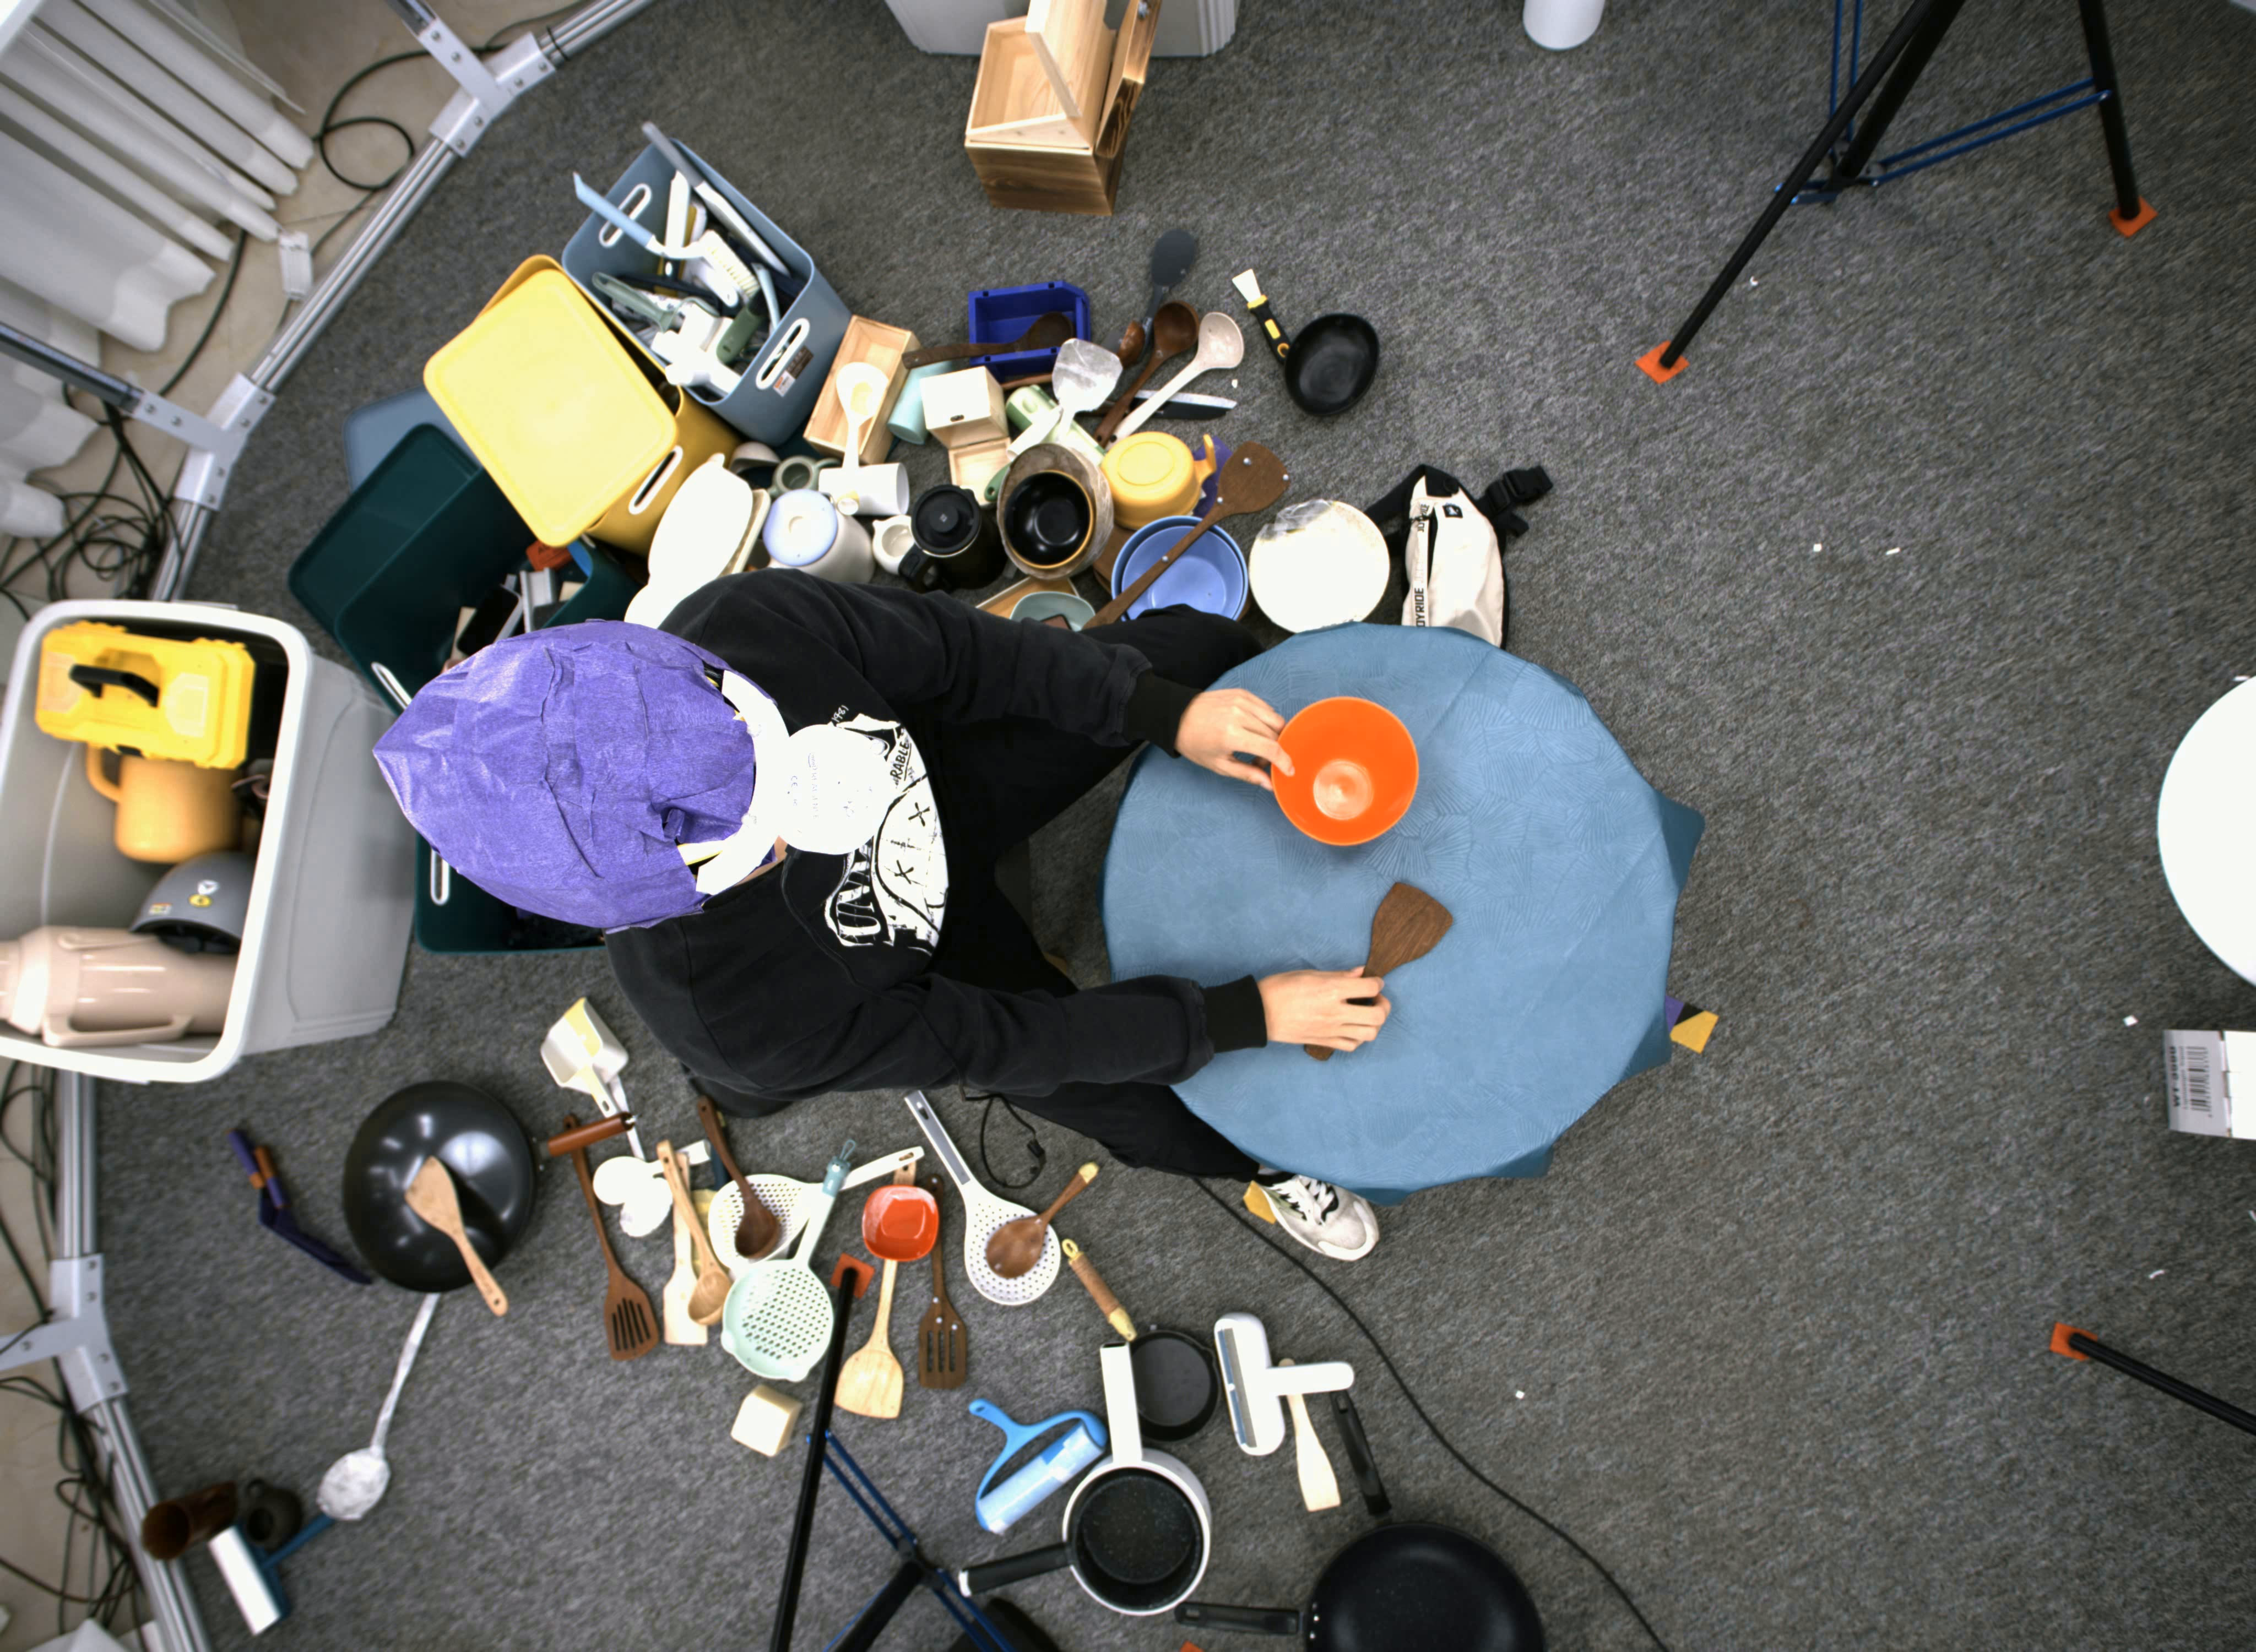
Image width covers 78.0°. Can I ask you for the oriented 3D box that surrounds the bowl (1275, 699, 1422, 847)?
[{"bbox_3d":[0.226,-0.051,1.428,0.148,0.105,0.147,0,87,6],"label":"bowl"}]

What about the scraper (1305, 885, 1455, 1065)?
[{"bbox_3d":[0.256,0.161,1.455,0.075,0.011,0.212,36,93,8],"label":"scraper"}]
